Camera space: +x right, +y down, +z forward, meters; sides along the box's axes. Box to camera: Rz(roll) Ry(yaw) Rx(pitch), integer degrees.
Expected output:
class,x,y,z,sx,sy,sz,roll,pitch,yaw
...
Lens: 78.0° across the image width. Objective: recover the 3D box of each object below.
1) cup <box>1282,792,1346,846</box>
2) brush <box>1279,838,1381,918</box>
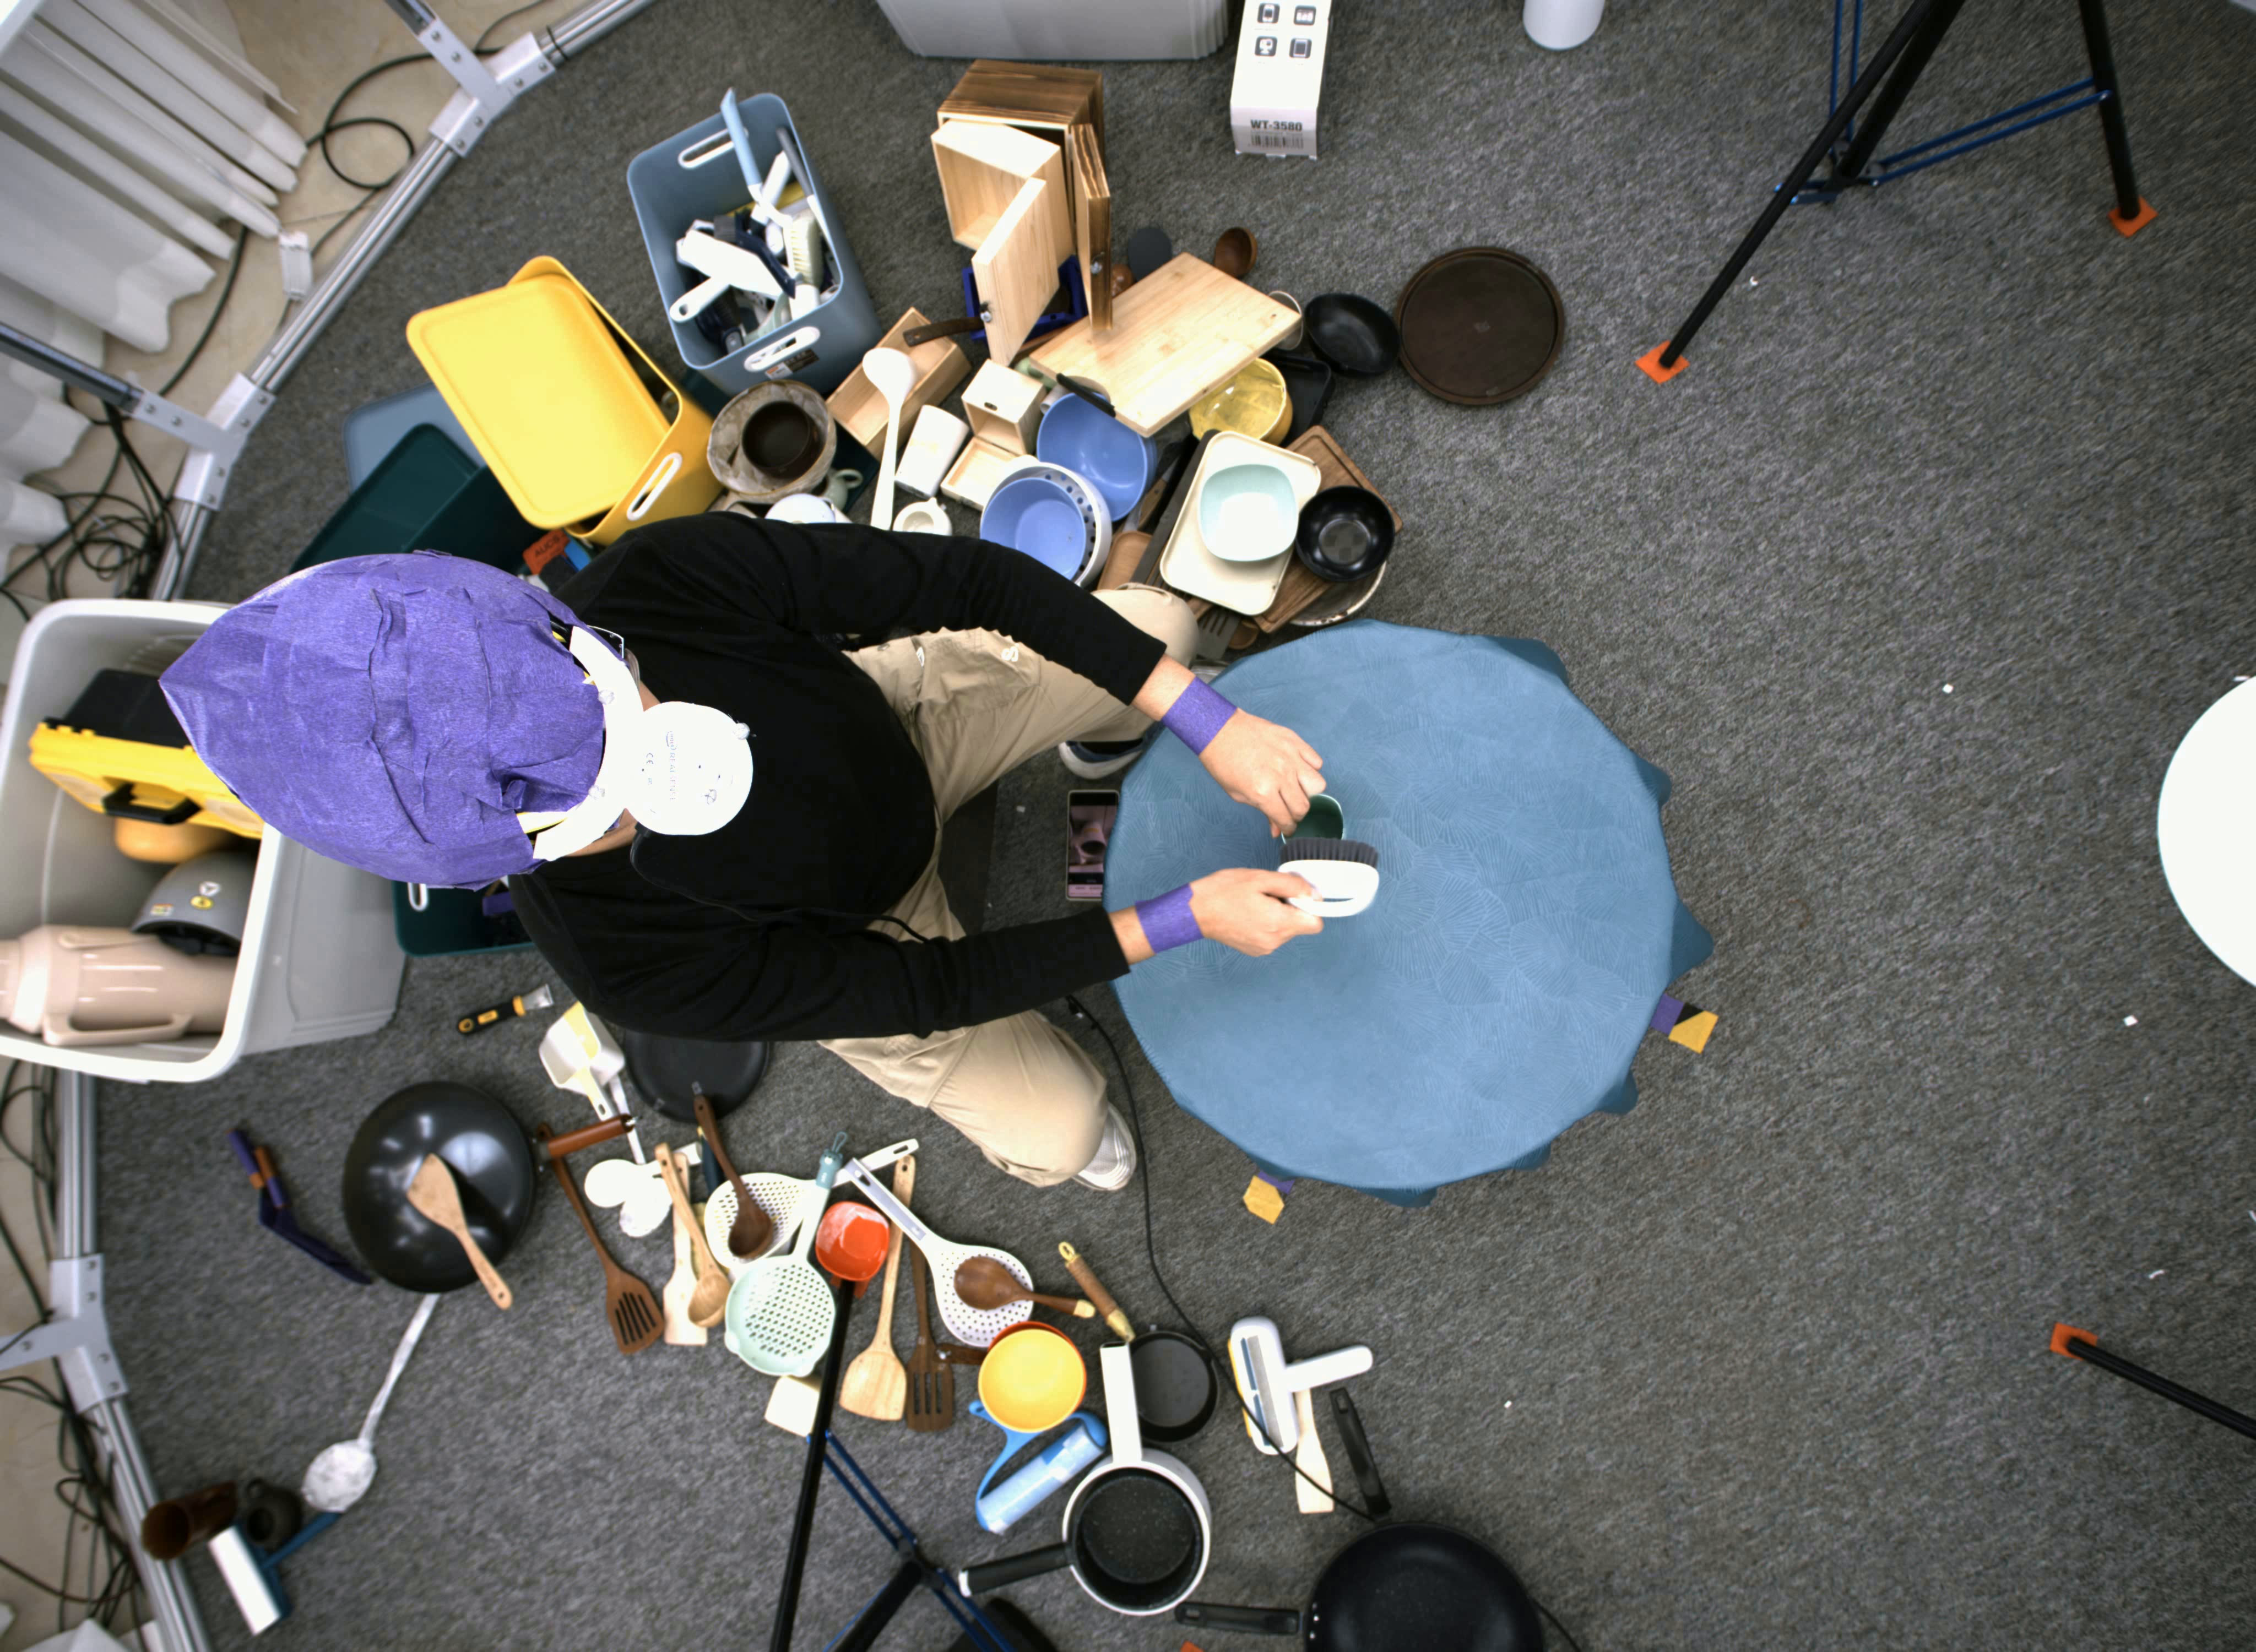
class,x,y,z,sx,sy,sz,roll,pitch,yaw
cup,0.192,0.005,1.414,0.067,0.132,0.066,-1,84,9
brush,0.193,0.055,1.329,0.099,0.051,0.070,3,52,7
